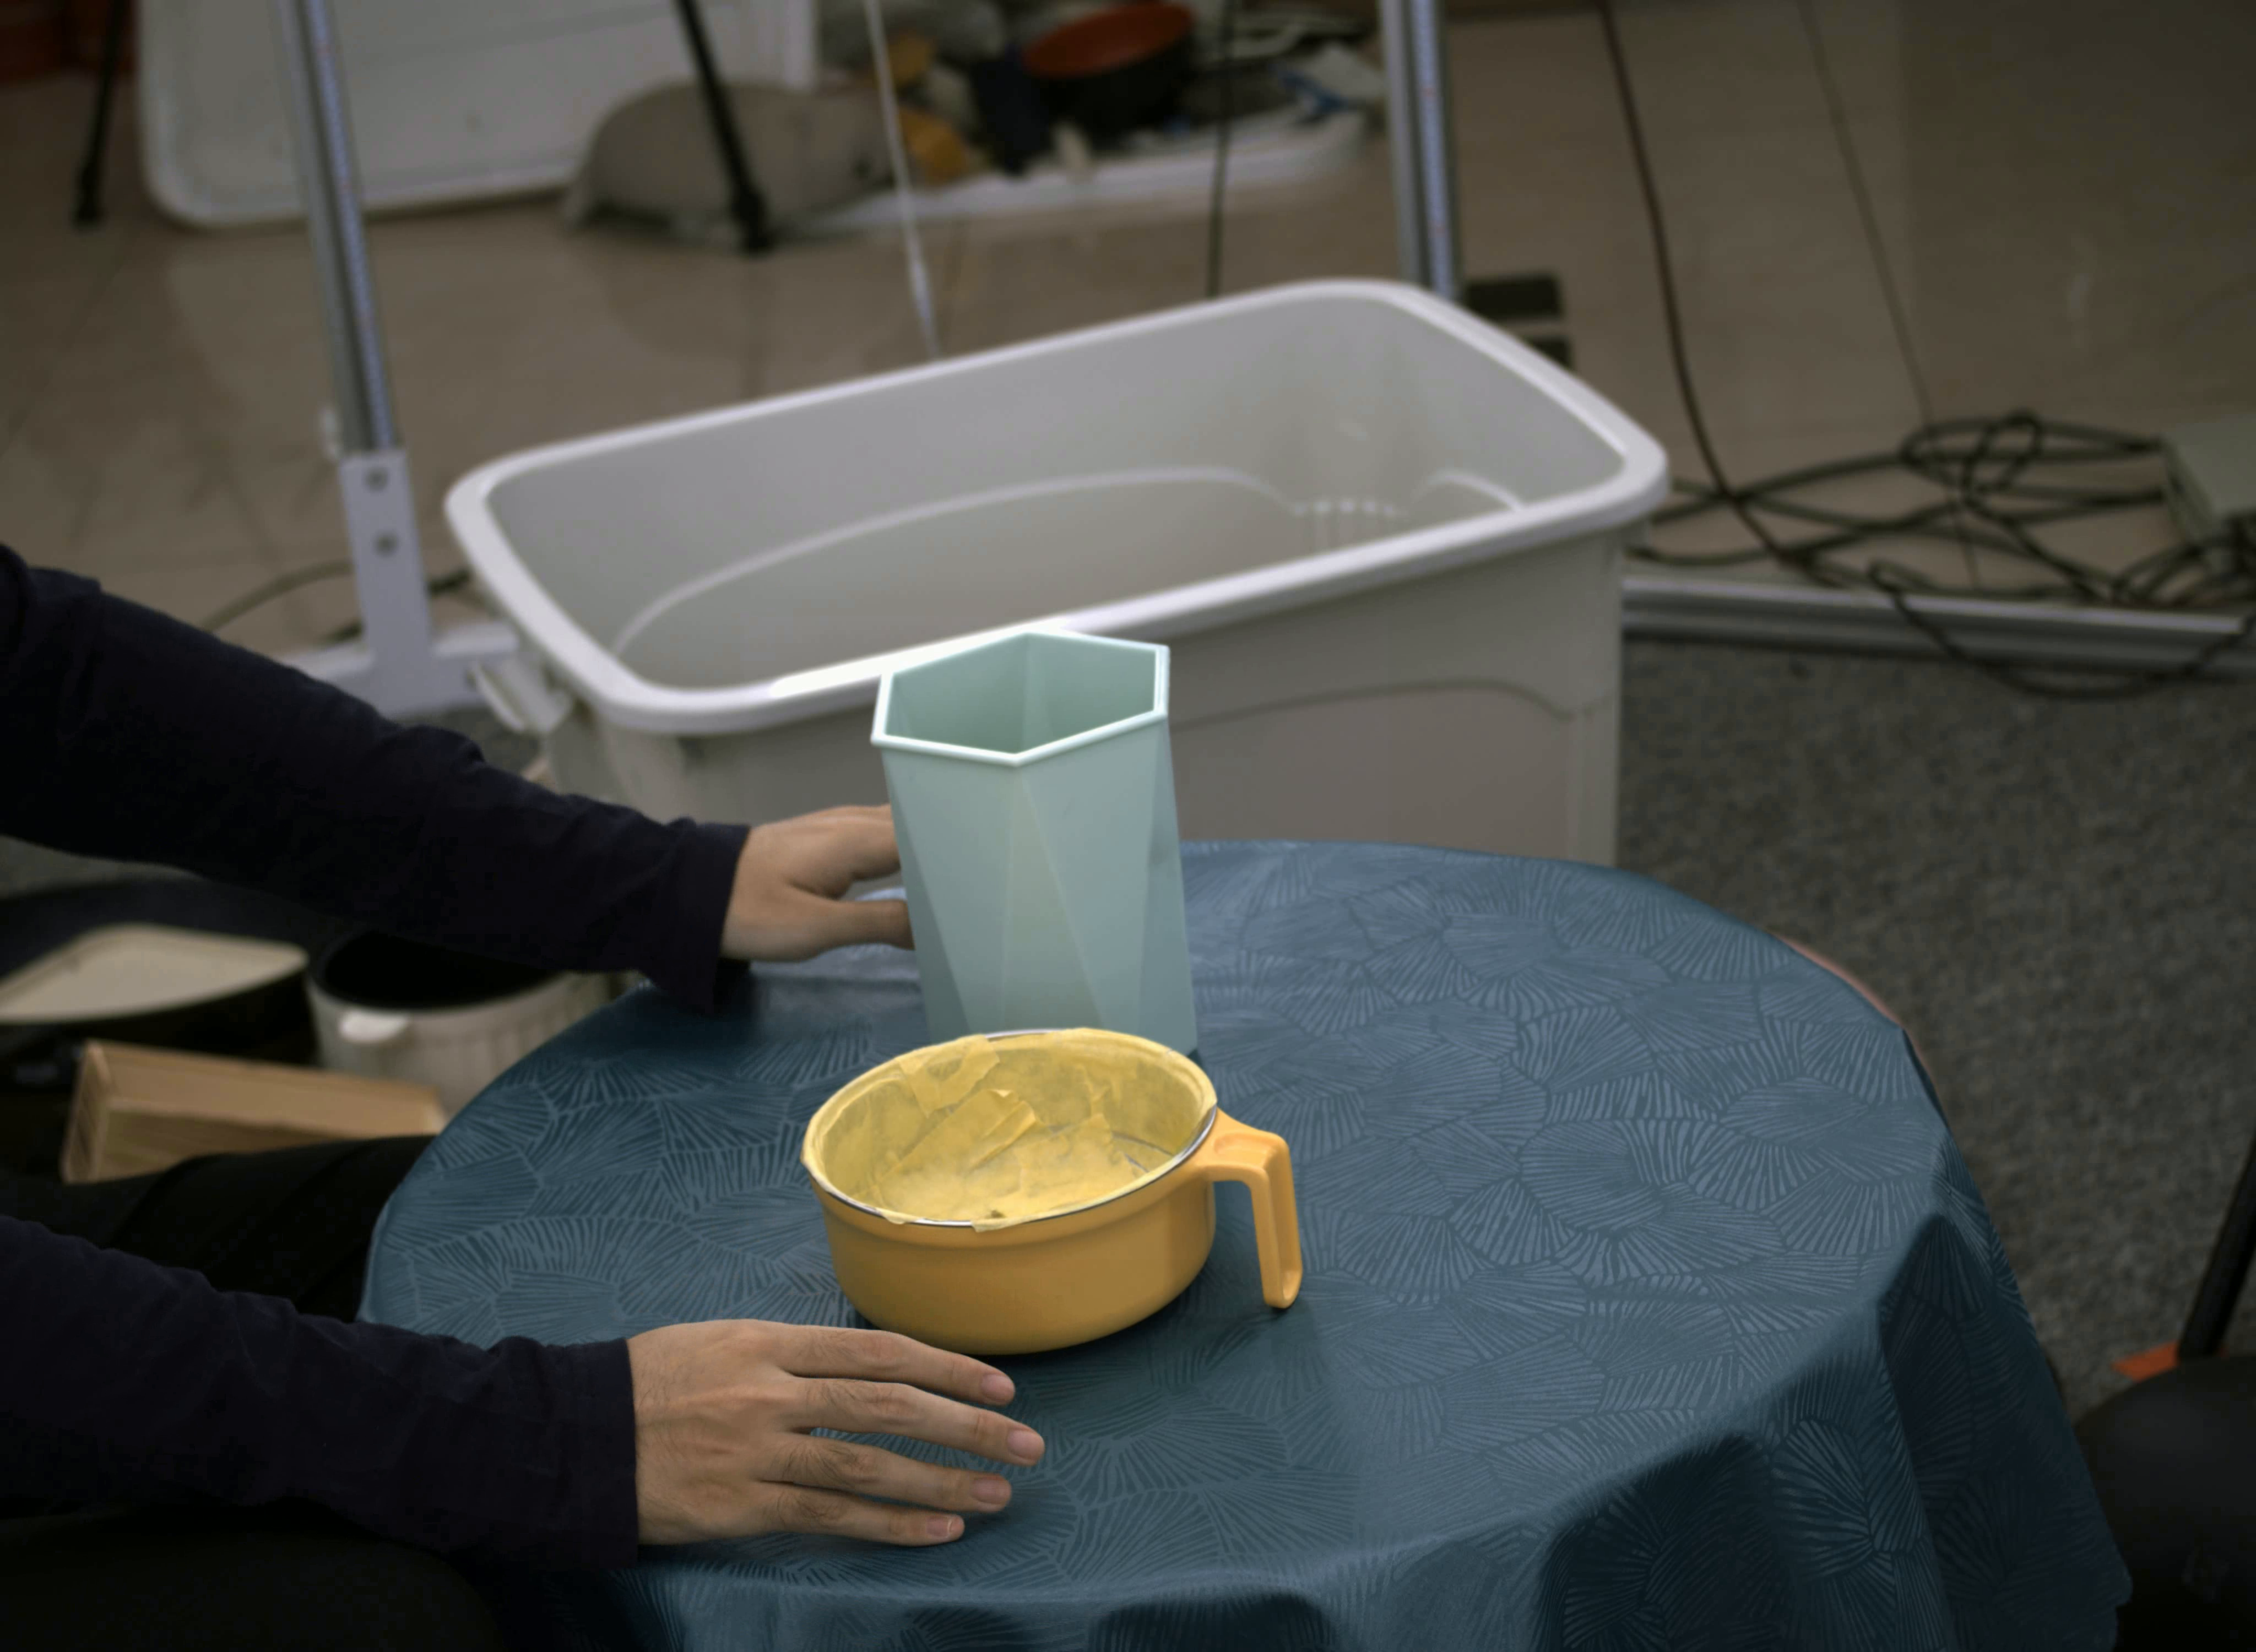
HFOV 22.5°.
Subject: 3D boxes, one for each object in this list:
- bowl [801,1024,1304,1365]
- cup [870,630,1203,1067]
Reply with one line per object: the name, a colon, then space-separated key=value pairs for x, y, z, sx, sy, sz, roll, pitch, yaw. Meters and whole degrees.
bowl: x=-0.027 y=0.139 z=2.075 sx=0.179 sy=0.075 sz=0.151 roll=-1 pitch=26 yaw=18
cup: x=-0.031 y=0.020 z=2.217 sx=0.115 sy=0.165 sz=0.129 roll=-8 pitch=24 yaw=1
